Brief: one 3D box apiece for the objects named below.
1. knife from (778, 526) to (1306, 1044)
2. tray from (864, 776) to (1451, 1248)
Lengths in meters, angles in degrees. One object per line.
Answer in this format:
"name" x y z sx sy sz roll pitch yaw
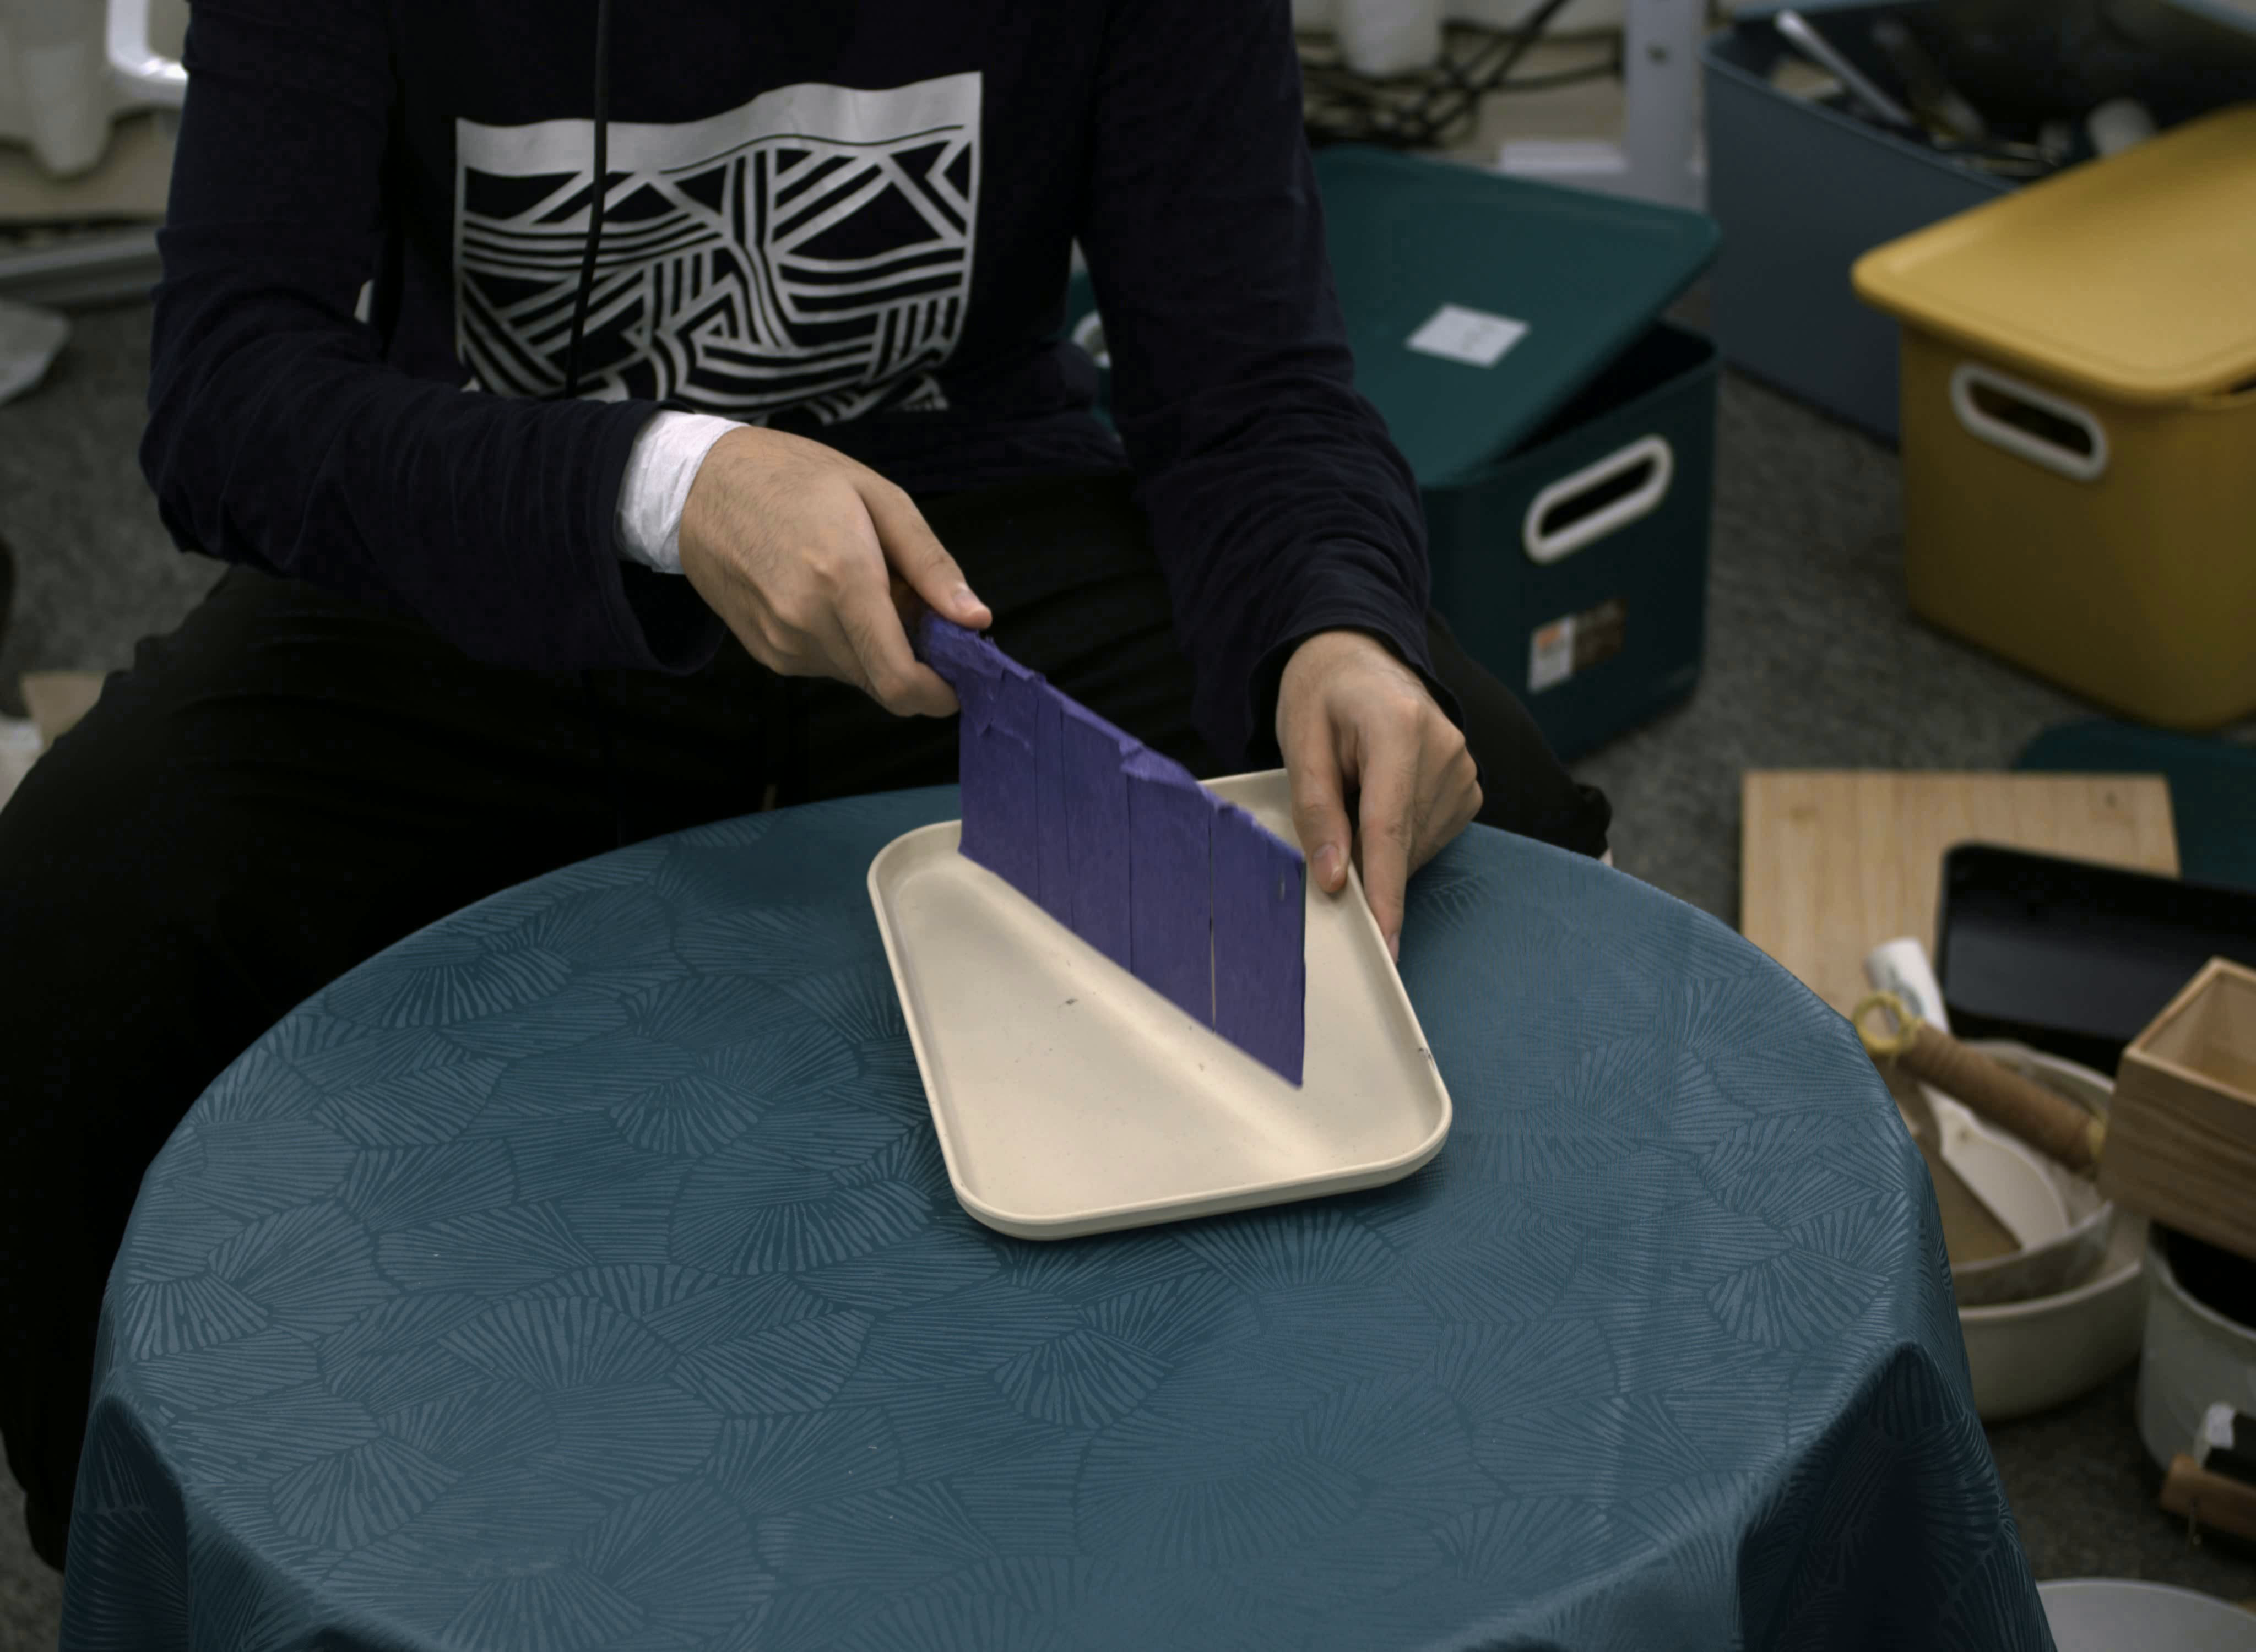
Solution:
"knife" -0.033 -0.014 1.941 0.032 0.103 0.316 -13 28 -29
"tray" 0.007 0.062 1.931 0.171 0.017 0.243 -9 34 -7
